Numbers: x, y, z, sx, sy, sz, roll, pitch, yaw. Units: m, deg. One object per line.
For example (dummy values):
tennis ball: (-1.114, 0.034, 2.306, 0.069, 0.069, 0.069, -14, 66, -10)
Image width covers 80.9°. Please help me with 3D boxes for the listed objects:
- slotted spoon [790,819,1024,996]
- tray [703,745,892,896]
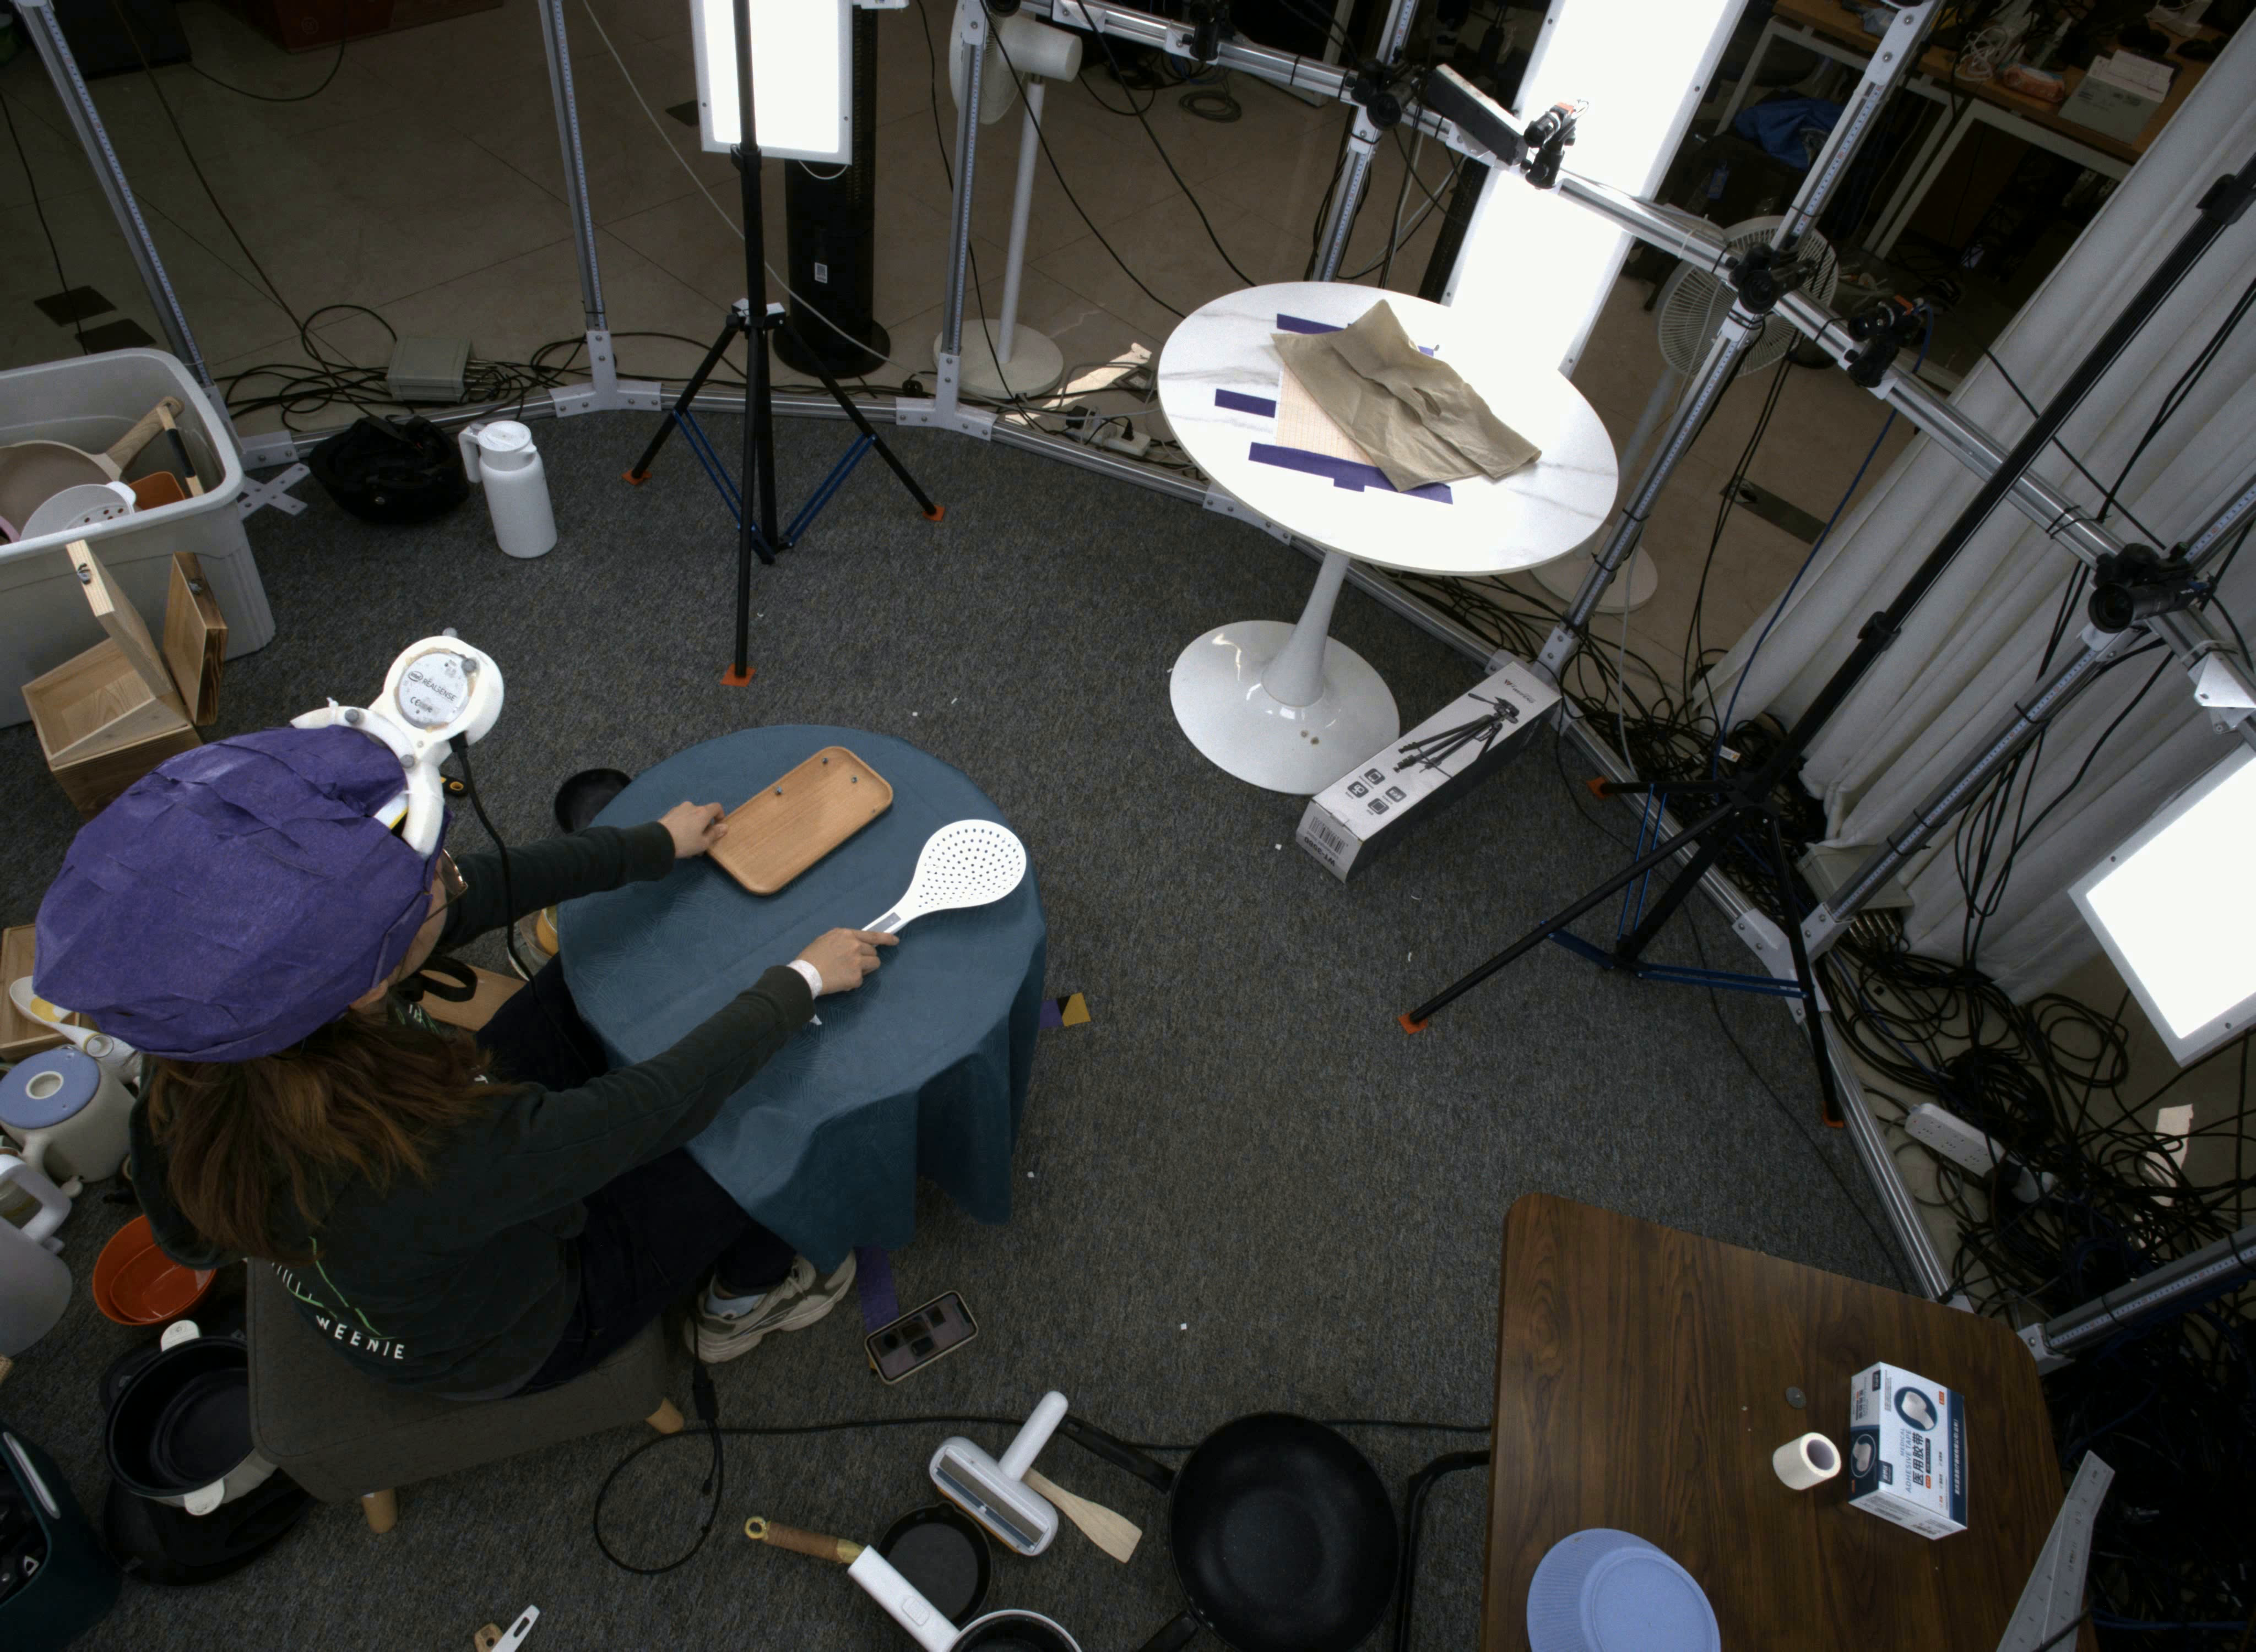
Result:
slotted spoon: (-0.280, 0.104, 1.656, 0.132, 0.047, 0.351, 40, 54, 23)
tray: (-0.434, -0.010, 1.717, 0.128, 0.023, 0.251, 39, 54, 13)
